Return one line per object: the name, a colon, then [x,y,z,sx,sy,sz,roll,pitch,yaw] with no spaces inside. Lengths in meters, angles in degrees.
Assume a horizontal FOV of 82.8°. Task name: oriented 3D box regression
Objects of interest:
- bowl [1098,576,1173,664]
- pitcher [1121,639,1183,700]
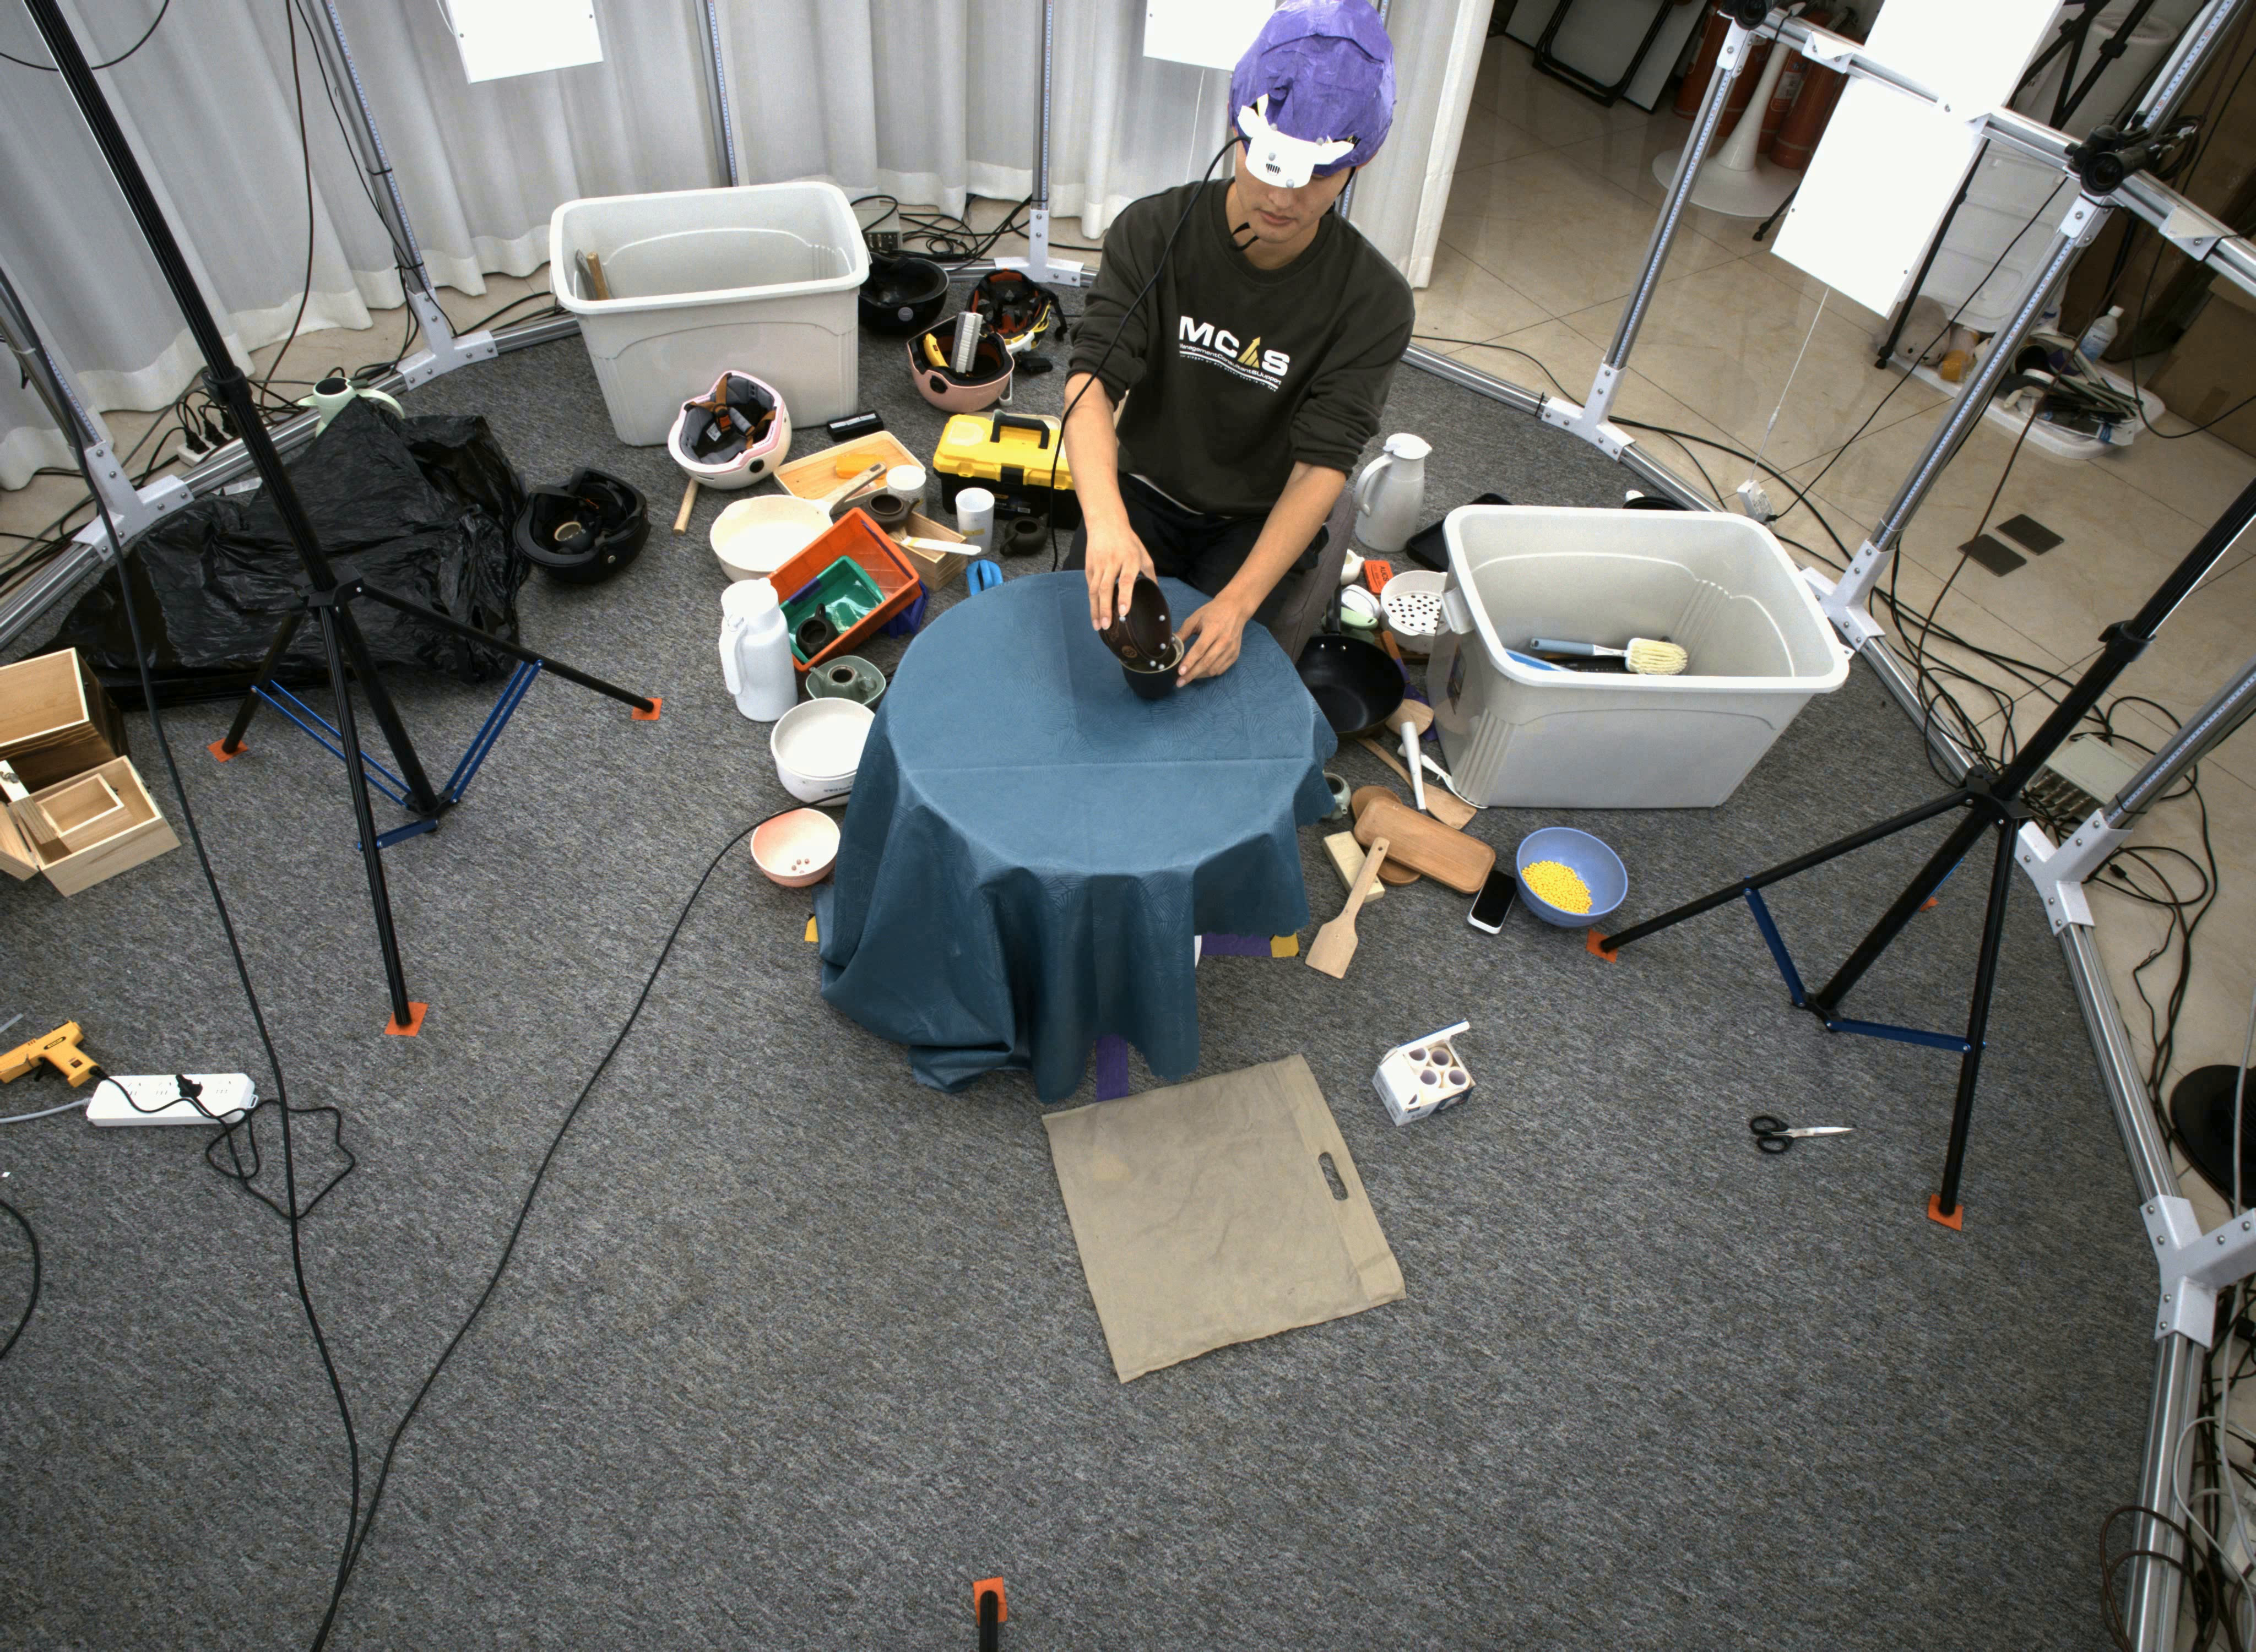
bowl: [0.003,-0.278,1.760,0.070,0.115,0.120,-12,41,31]
pitcher: [0.033,-0.222,1.810,0.097,0.069,0.085,19,57,25]
